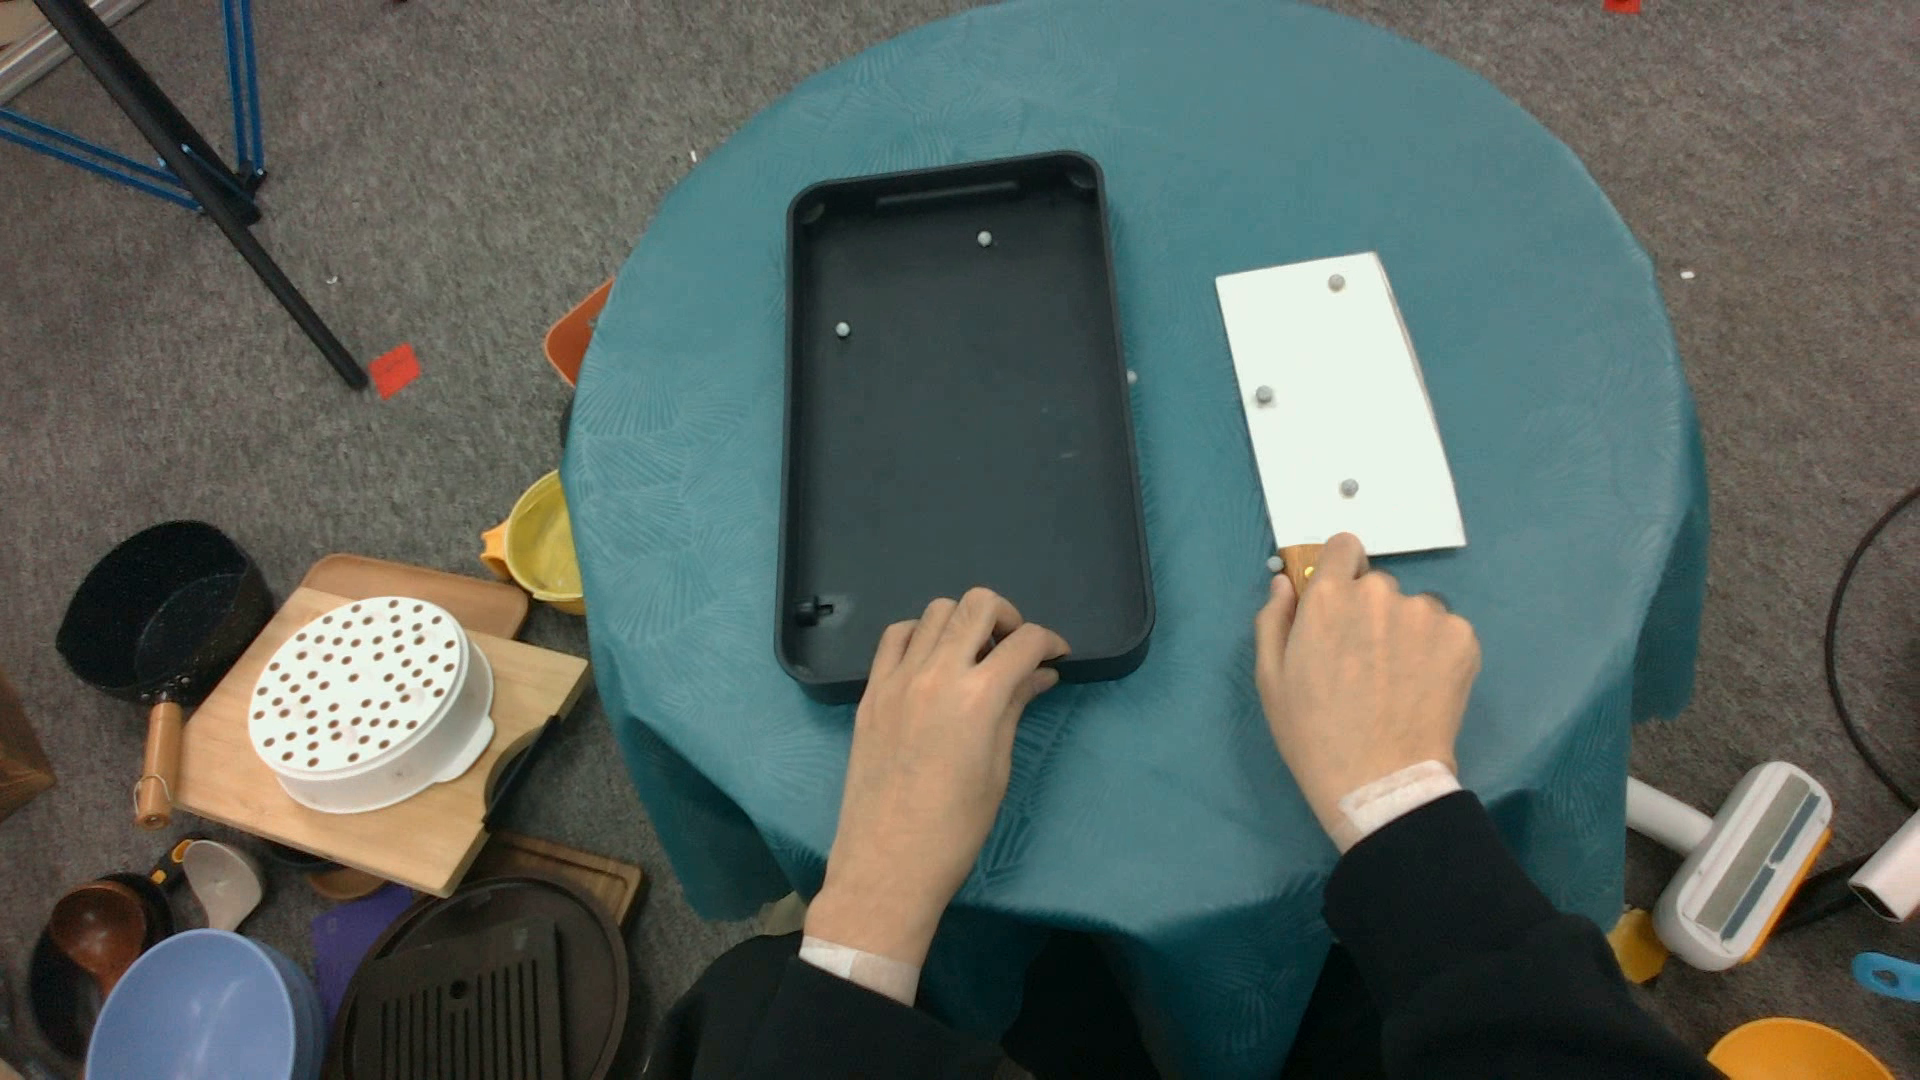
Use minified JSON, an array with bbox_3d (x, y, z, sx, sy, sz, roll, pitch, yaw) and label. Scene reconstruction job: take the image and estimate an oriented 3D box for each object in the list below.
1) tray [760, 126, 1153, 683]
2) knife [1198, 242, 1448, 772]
[{"bbox_3d":[-0.010,-0.083,0.733,0.184,0.037,0.319,-8,61,3],"label":"tray"},{"bbox_3d":[0.190,-0.033,0.690,0.093,0.021,0.307,-7,59,1],"label":"knife"}]
